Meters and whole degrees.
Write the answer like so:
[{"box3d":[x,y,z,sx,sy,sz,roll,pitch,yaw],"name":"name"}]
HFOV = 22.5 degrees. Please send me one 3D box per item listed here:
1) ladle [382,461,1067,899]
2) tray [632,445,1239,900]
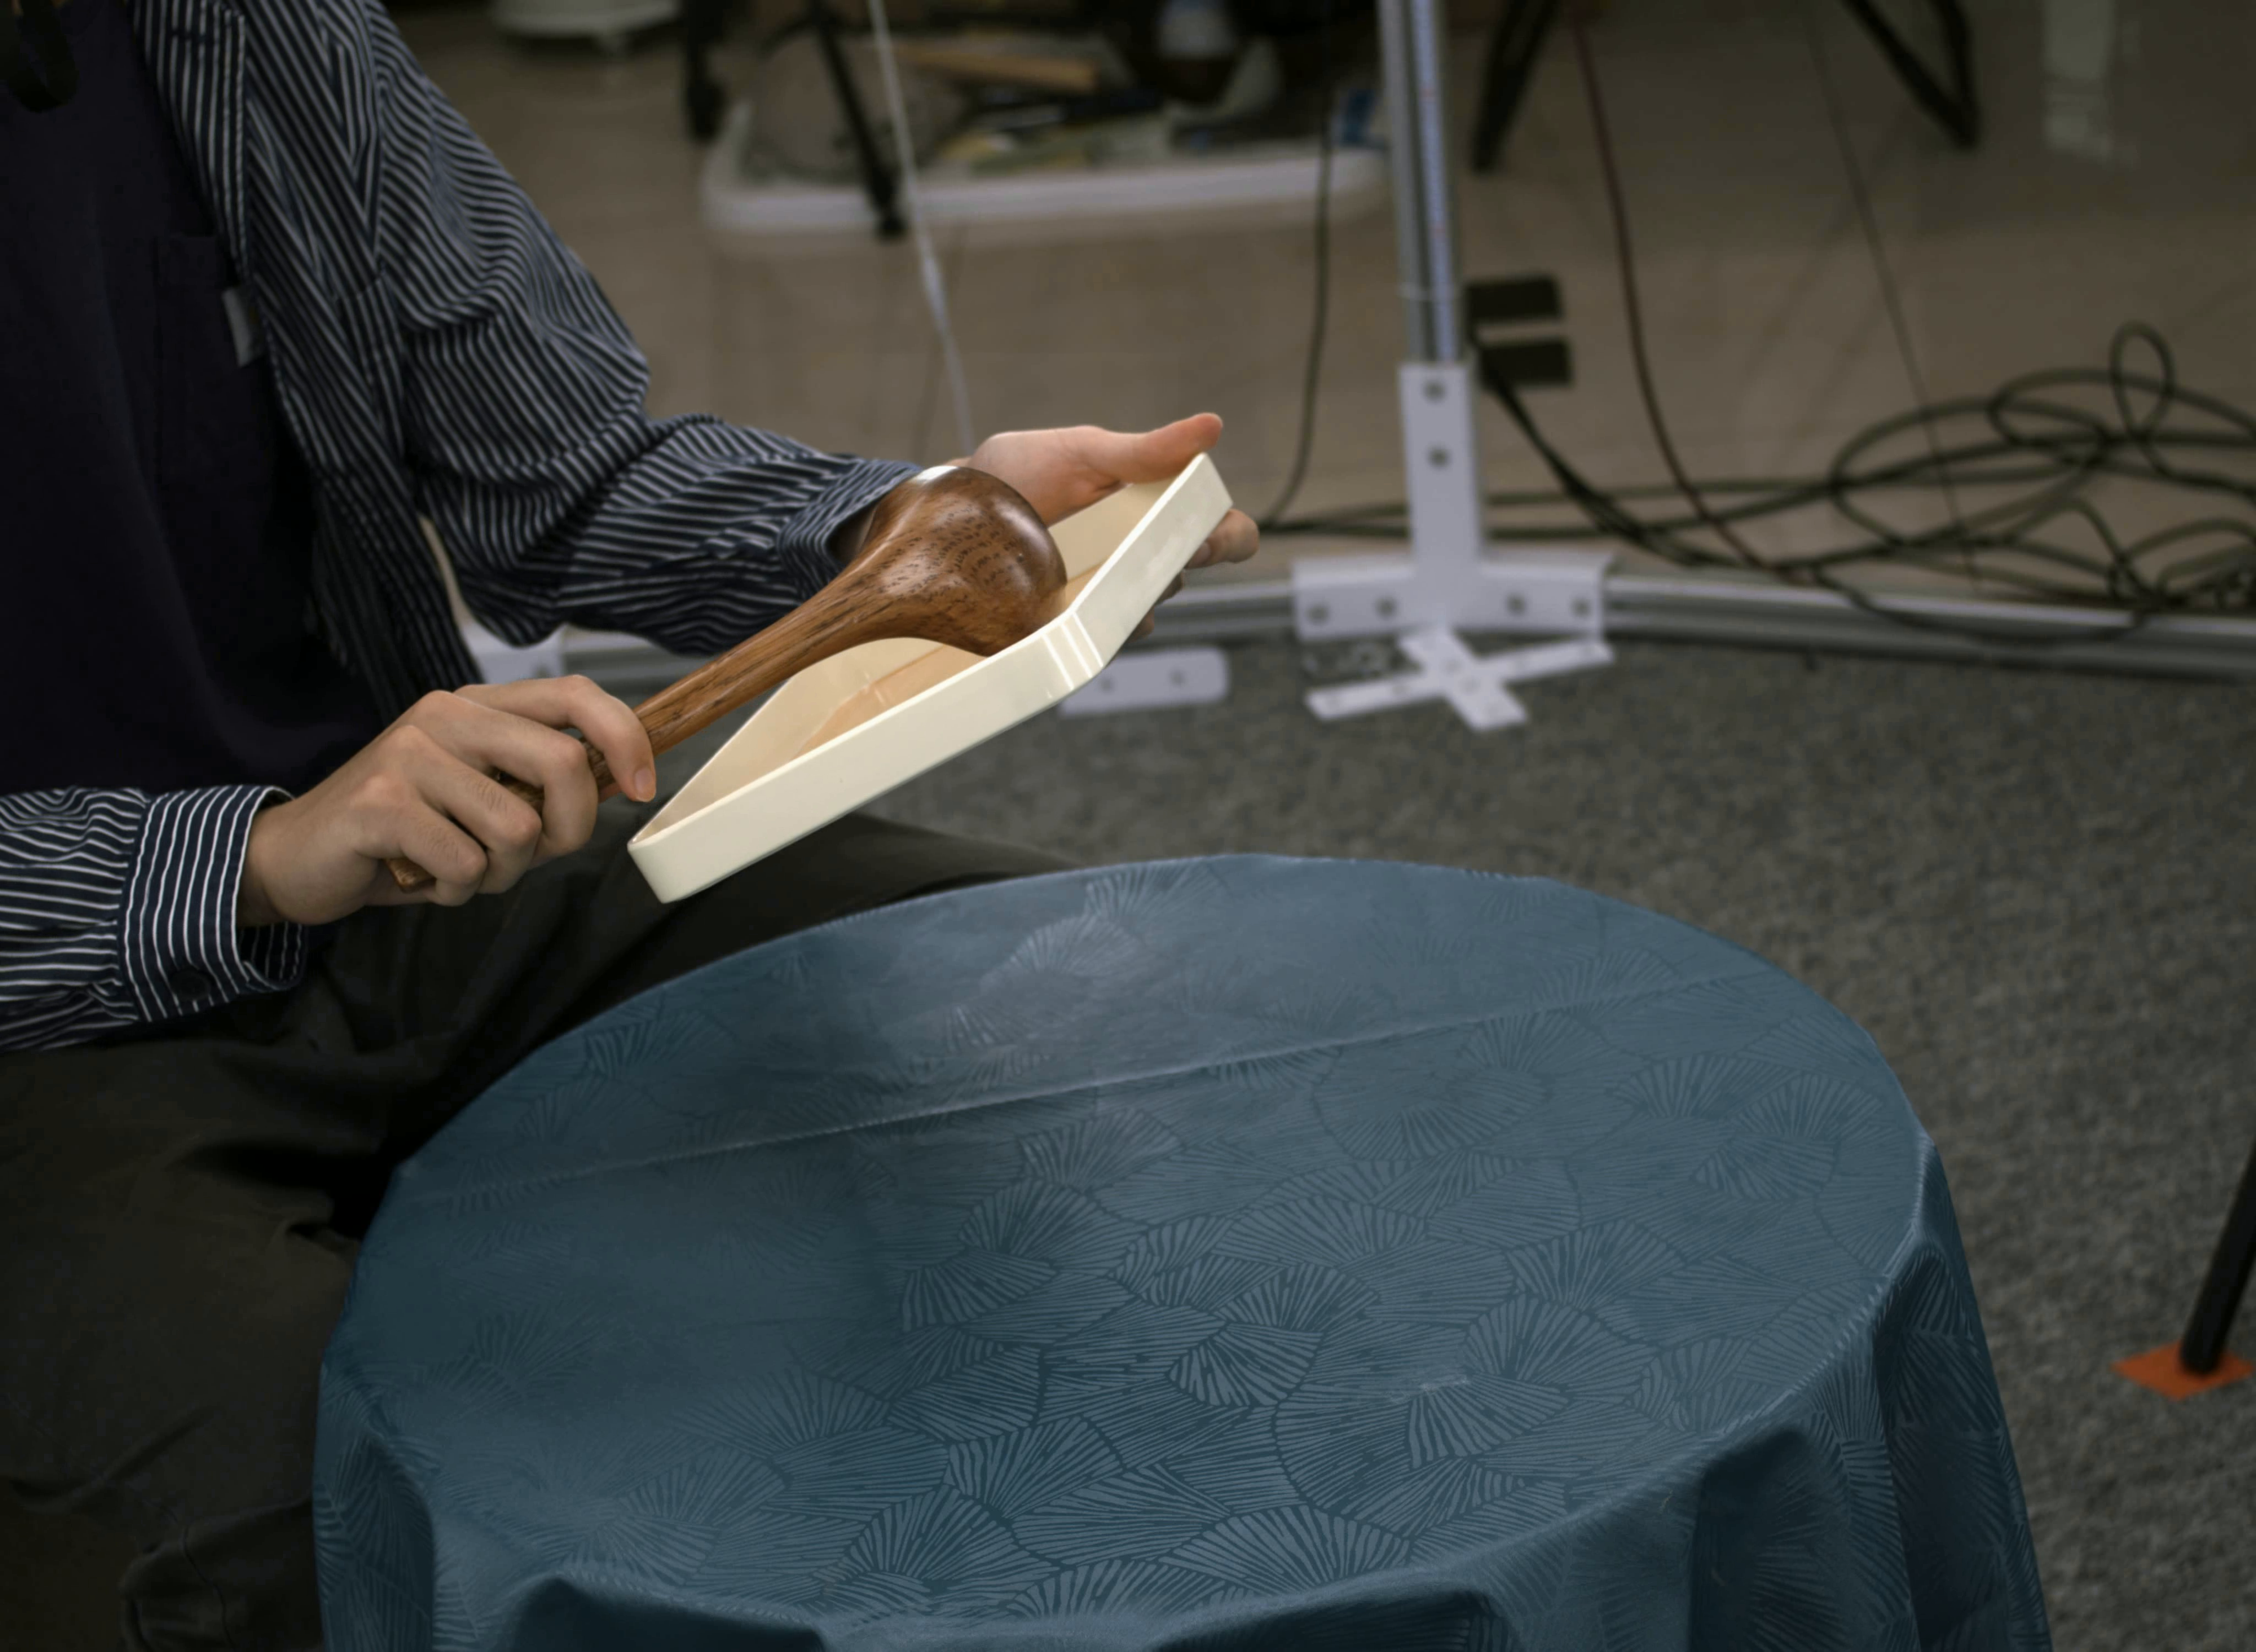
[{"box3d":[-0.148,-0.046,2.081,0.273,0.077,0.081,-31,72,-2],"name":"ladle"},{"box3d":[-0.067,-0.062,2.140,0.192,0.027,0.297,-27,9,19],"name":"tray"}]
